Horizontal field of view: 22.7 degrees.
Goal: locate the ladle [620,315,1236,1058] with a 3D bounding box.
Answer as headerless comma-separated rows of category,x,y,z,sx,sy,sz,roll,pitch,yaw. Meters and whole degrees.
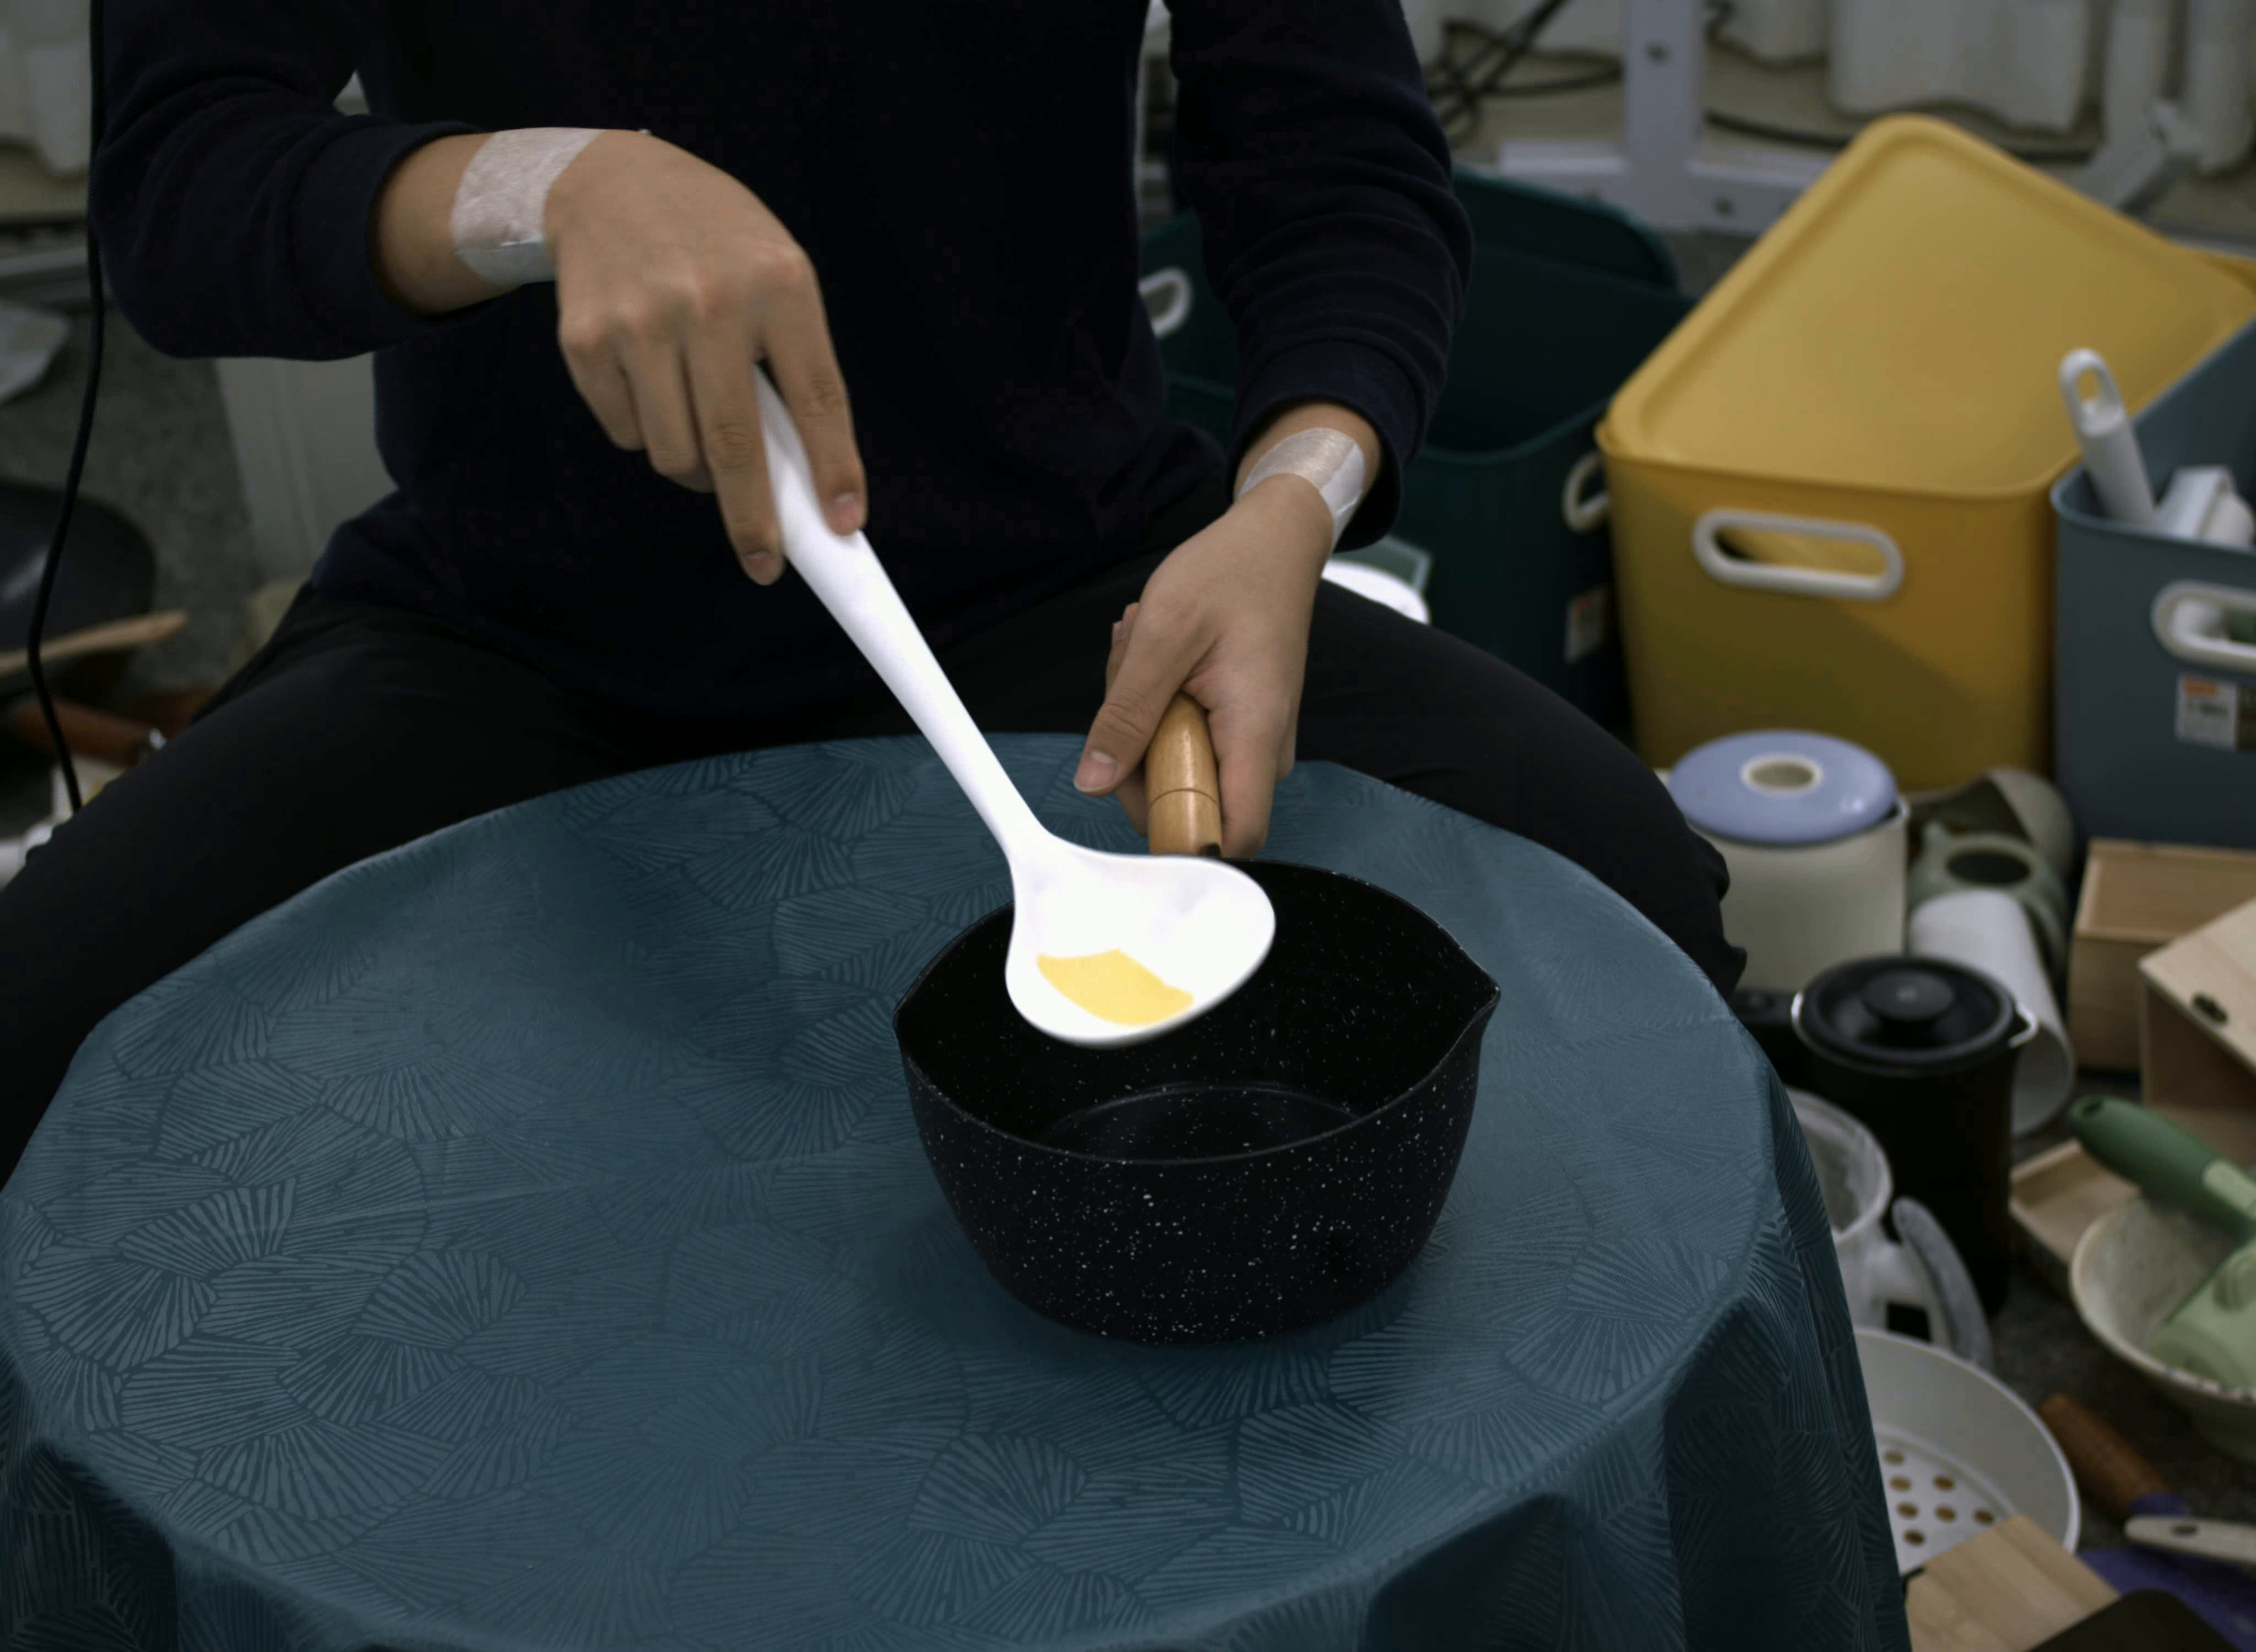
ladle,-0.073,-0.049,1.820,0.090,0.069,0.294,-32,77,-12

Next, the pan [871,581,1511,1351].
pan,0.020,0.044,1.886,0.206,0.107,0.348,-5,30,0
